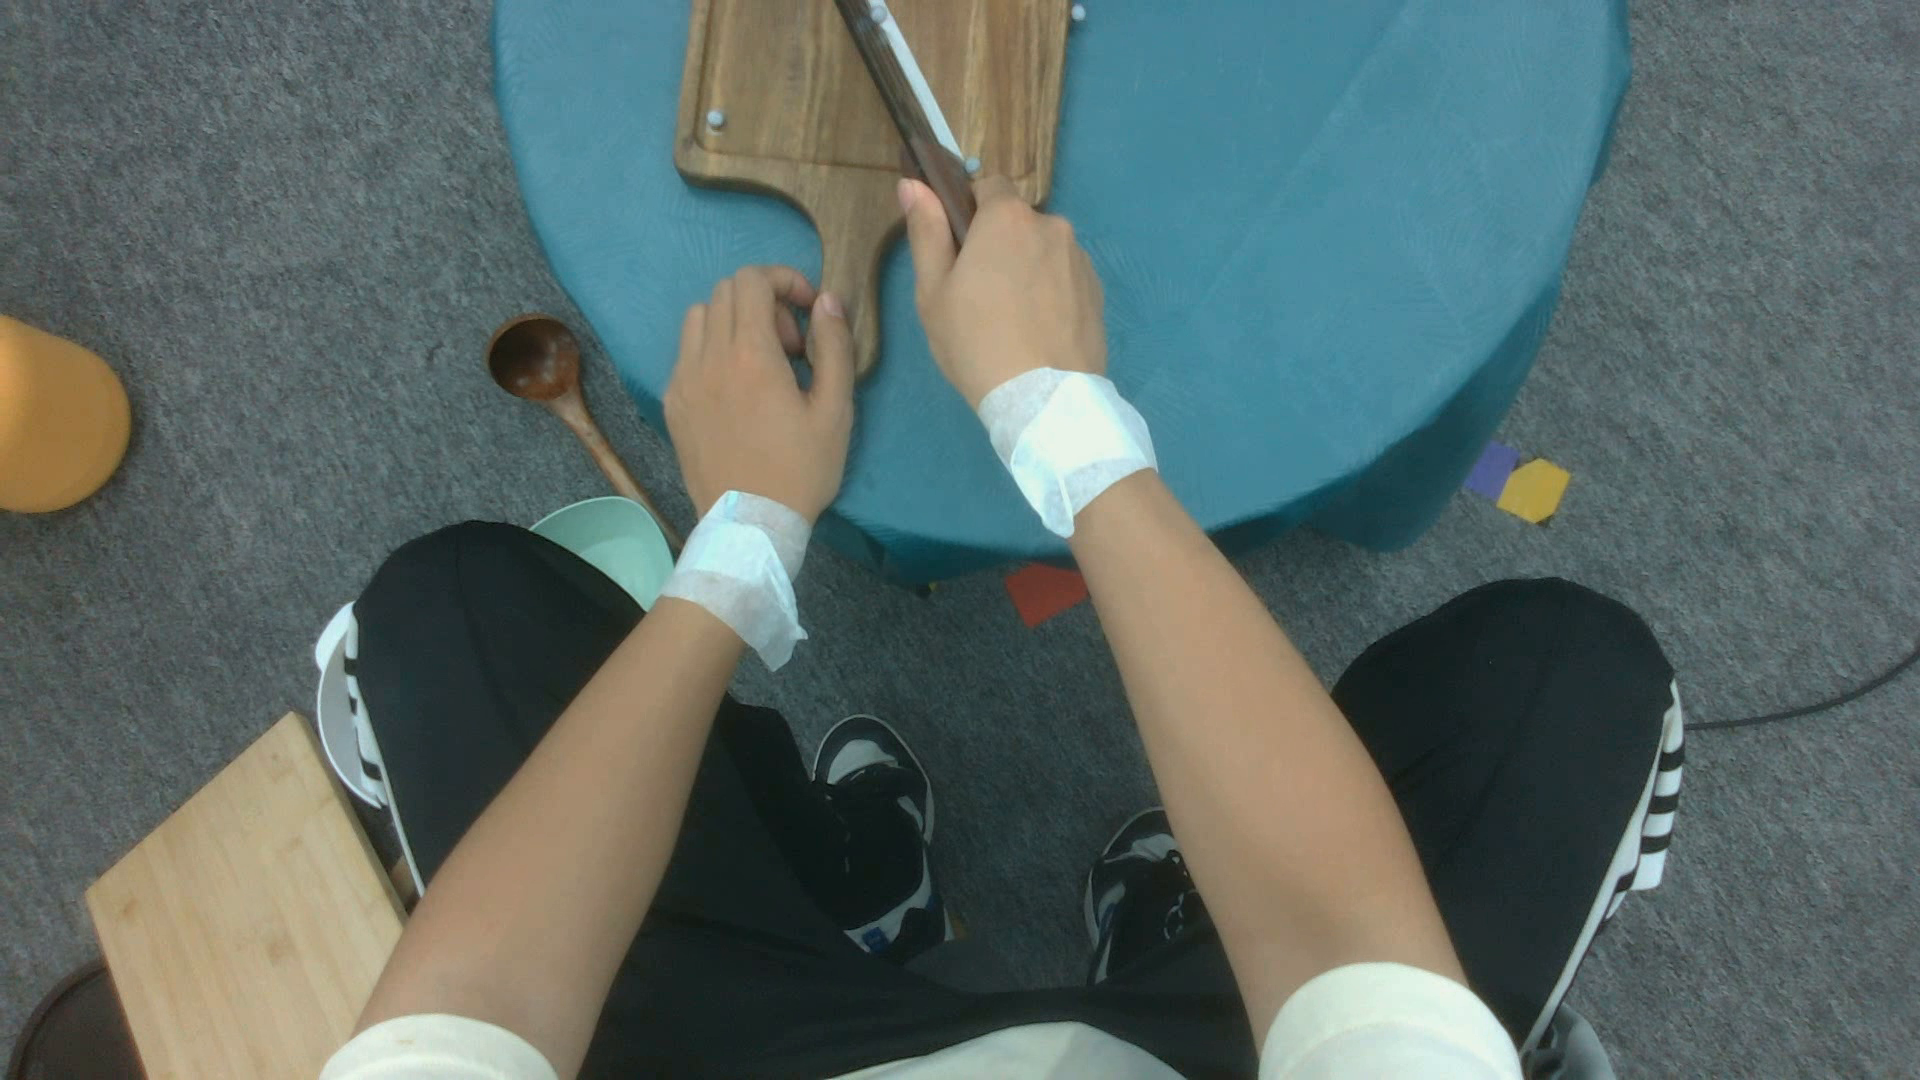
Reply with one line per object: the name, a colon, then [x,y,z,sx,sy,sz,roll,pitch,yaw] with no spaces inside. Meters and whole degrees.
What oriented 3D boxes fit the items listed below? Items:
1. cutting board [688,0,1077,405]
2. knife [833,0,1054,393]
cutting board: [-0.041,-0.246,0.743,0.201,0.023,0.352,6,82,3]
knife: [-0.015,-0.202,0.685,0.024,0.068,0.300,-31,75,25]
